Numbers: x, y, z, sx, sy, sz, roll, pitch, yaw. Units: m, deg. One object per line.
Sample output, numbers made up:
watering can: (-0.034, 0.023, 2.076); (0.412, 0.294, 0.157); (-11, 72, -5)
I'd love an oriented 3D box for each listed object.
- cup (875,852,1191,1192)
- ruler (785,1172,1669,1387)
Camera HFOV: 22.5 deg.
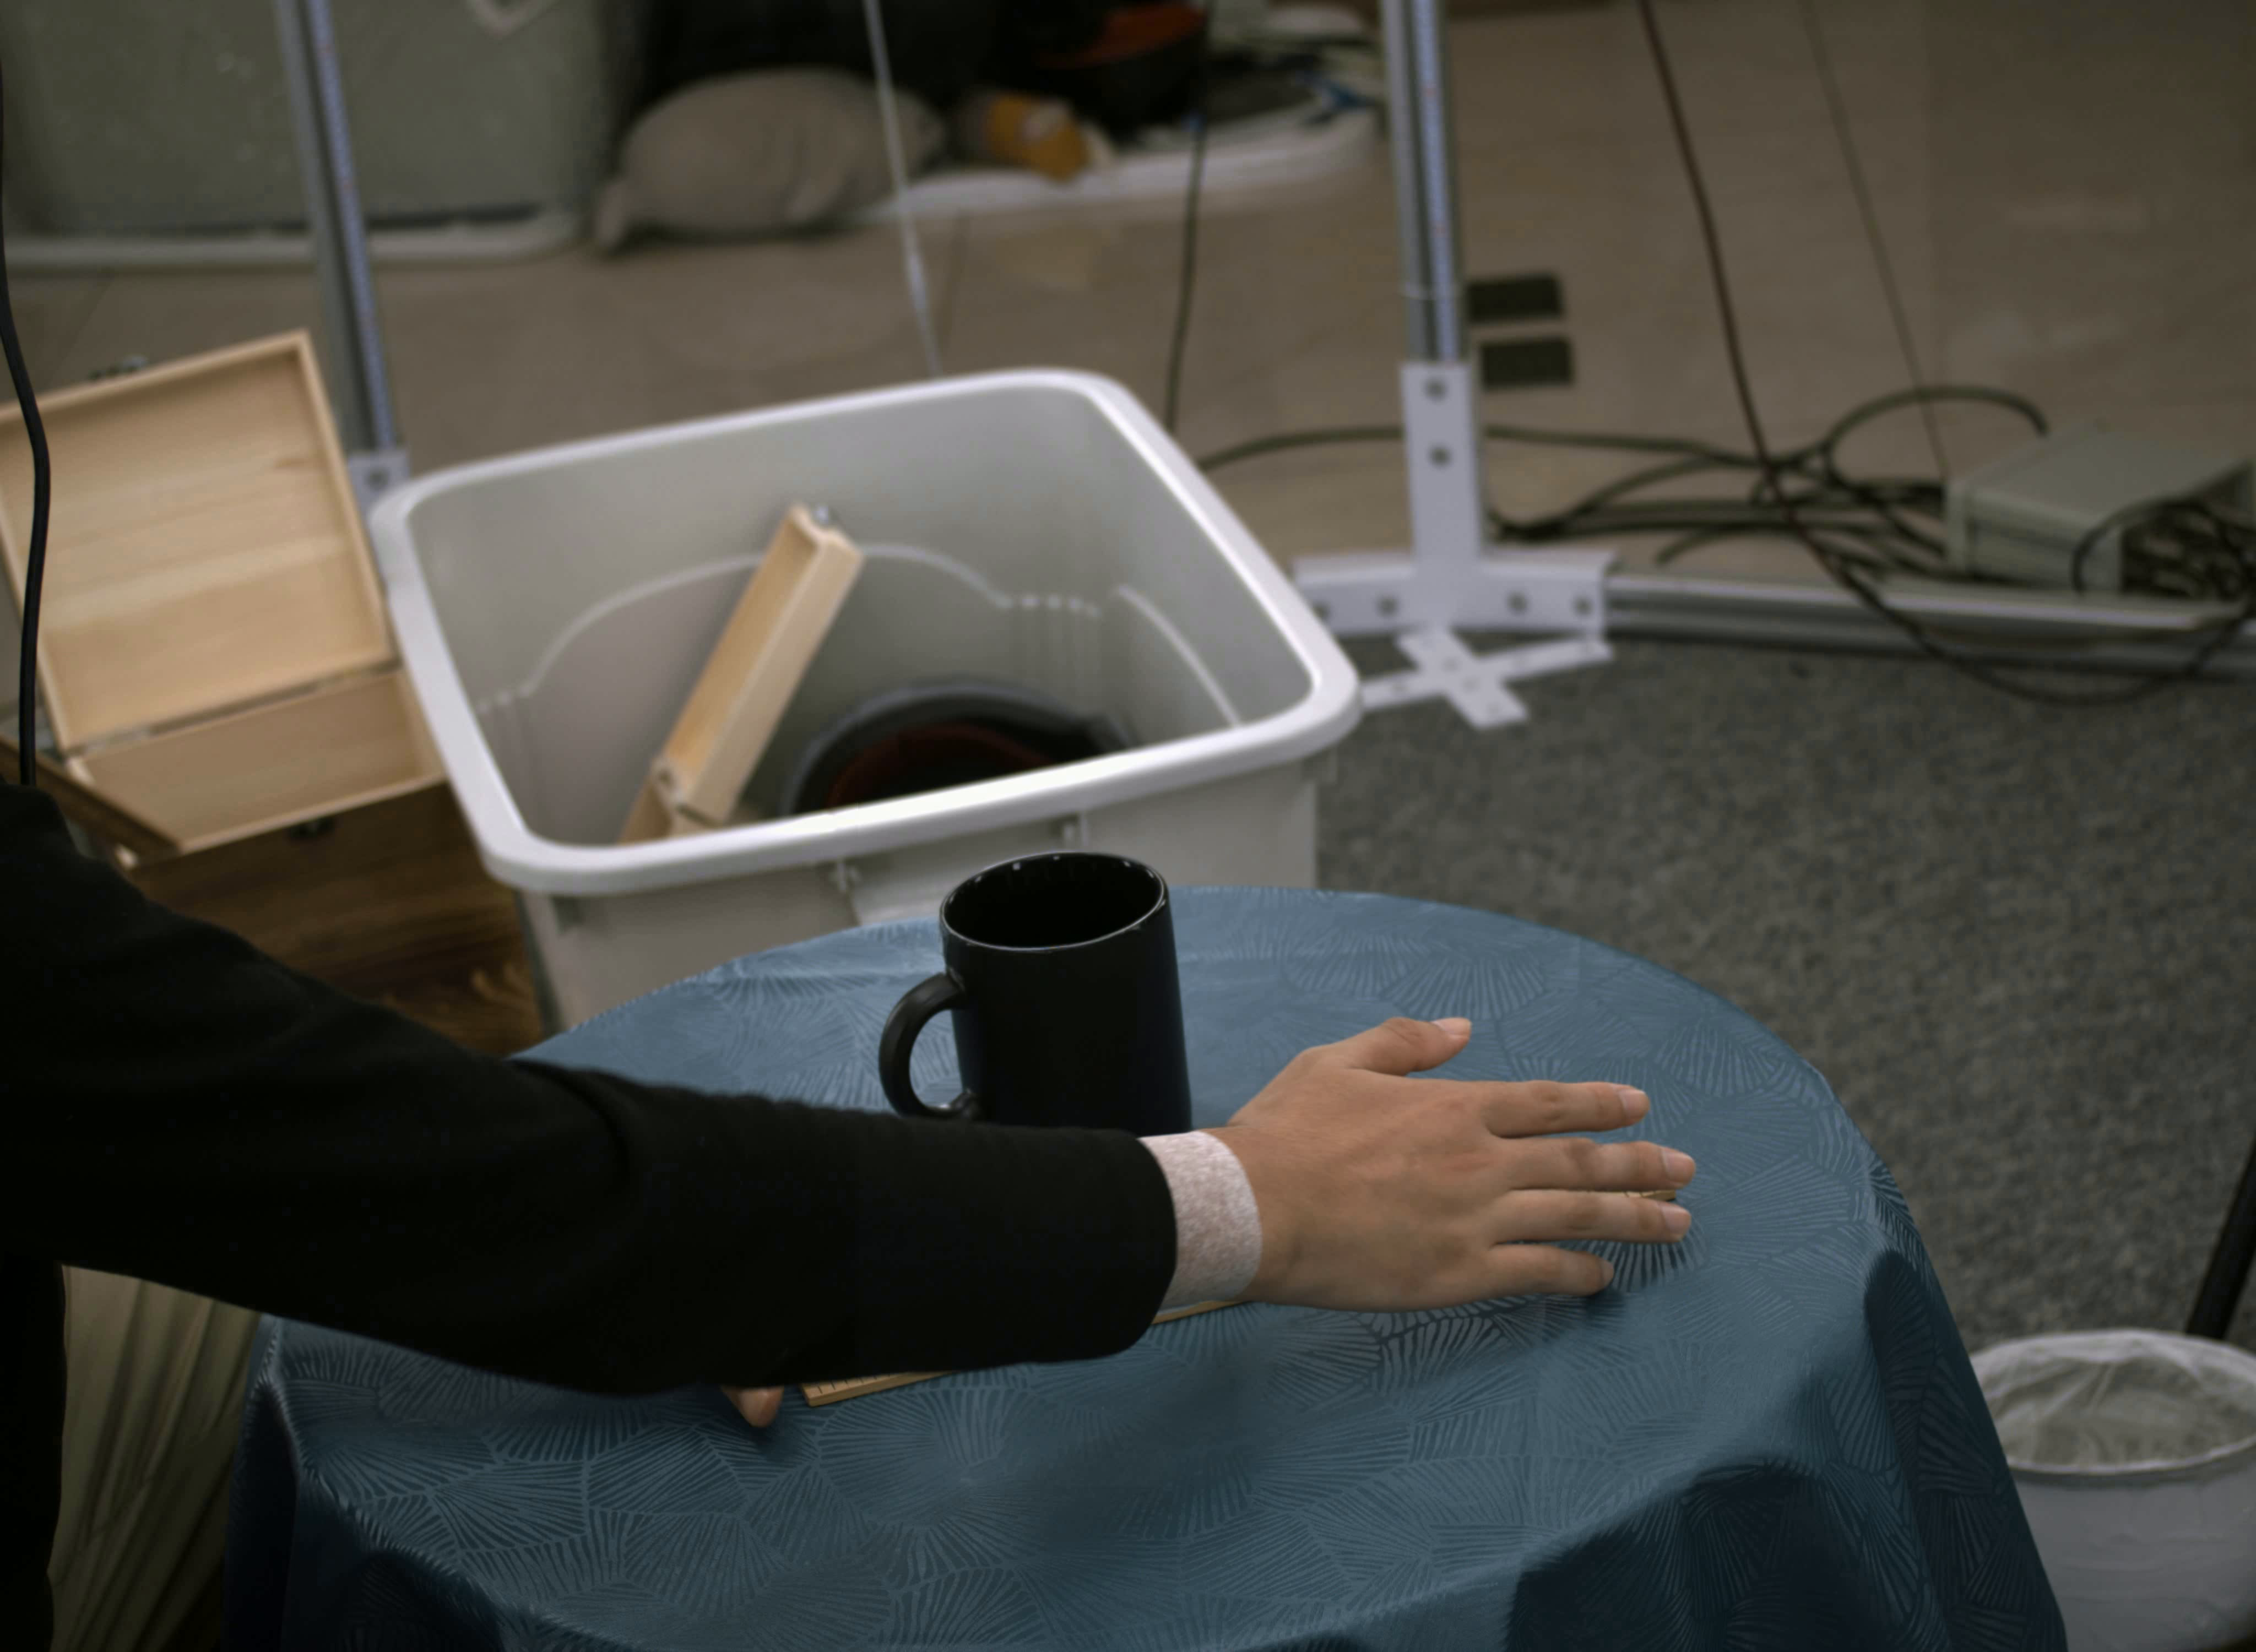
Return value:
cup: (-0.039, 0.079, 2.164); (0.123, 0.107, 0.087); (-18, 29, -20)
ruler: (0.038, 0.163, 2.073); (0.331, 0.022, 0.027); (-11, 21, -11)
